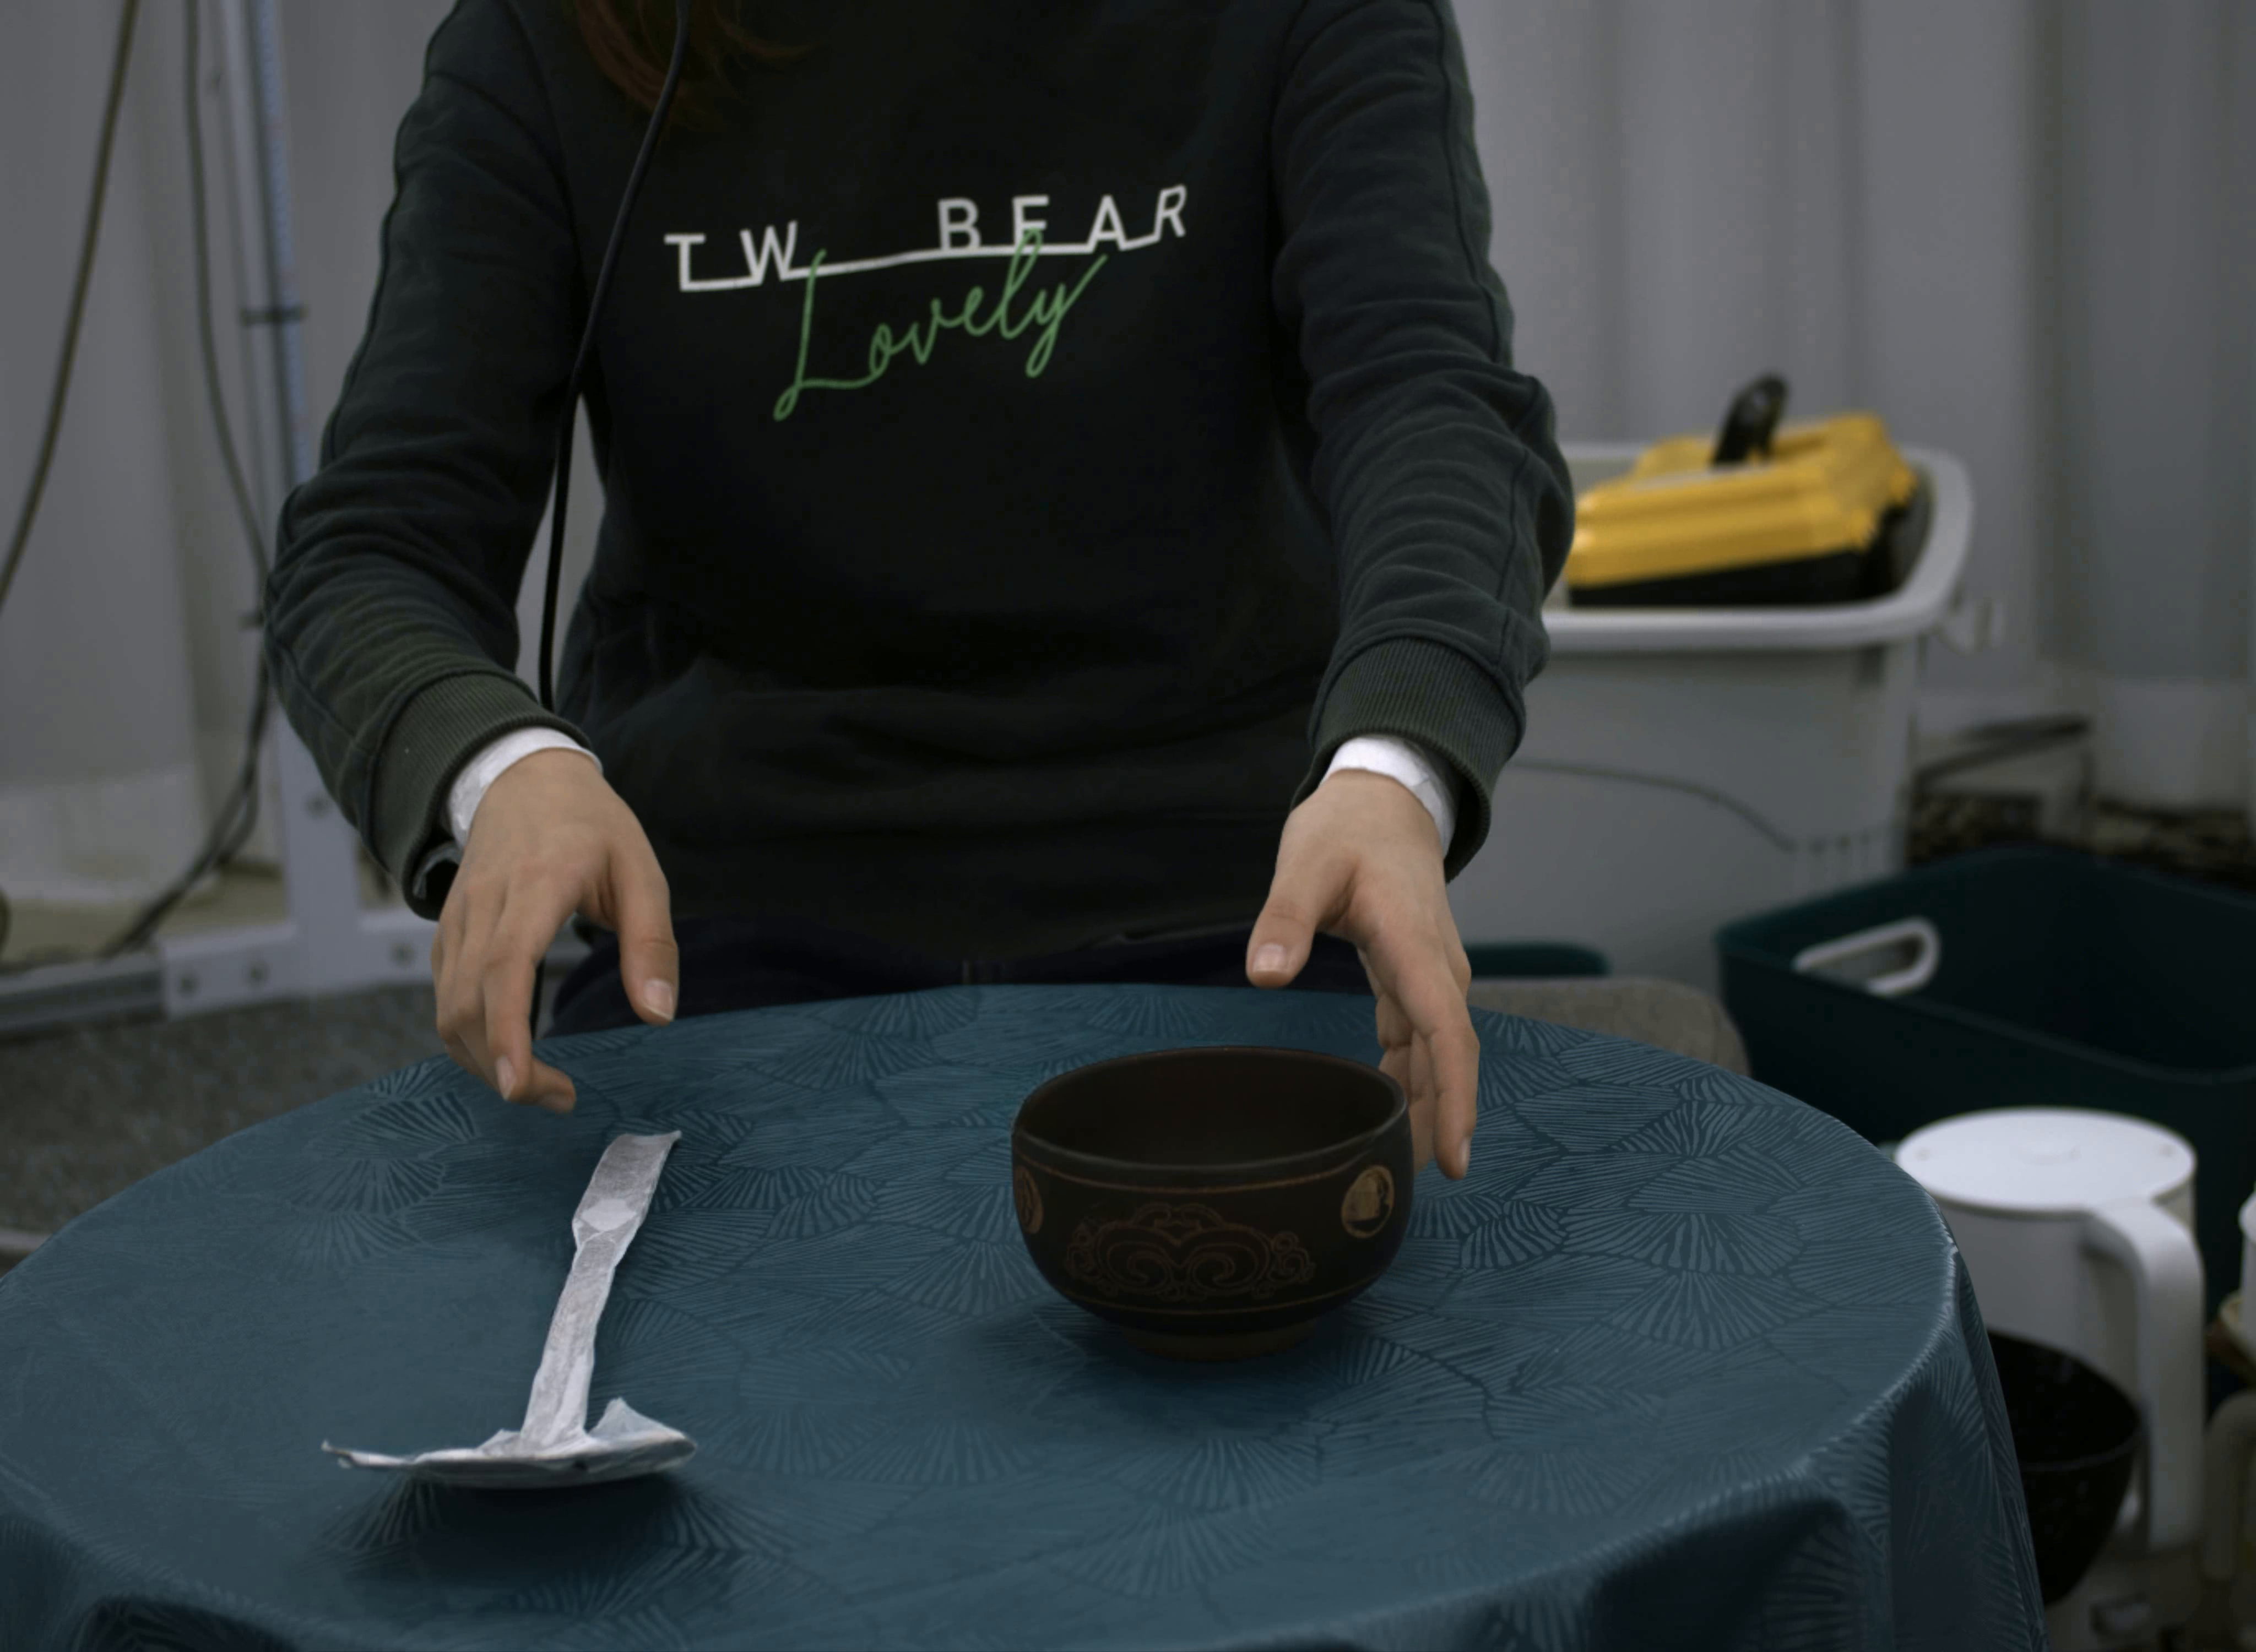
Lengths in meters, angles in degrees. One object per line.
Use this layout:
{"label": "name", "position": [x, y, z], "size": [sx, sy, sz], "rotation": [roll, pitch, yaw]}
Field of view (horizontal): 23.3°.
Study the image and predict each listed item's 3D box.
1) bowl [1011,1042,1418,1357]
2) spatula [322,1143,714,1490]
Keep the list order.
{"label": "bowl", "position": [0.025, 0.112, 1.582], "size": [0.117, 0.069, 0.119], "rotation": [-1, 14, 0]}
{"label": "spatula", "position": [-0.155, 0.134, 1.596], "size": [0.098, 0.044, 0.367], "rotation": [-4, 15, 4]}
